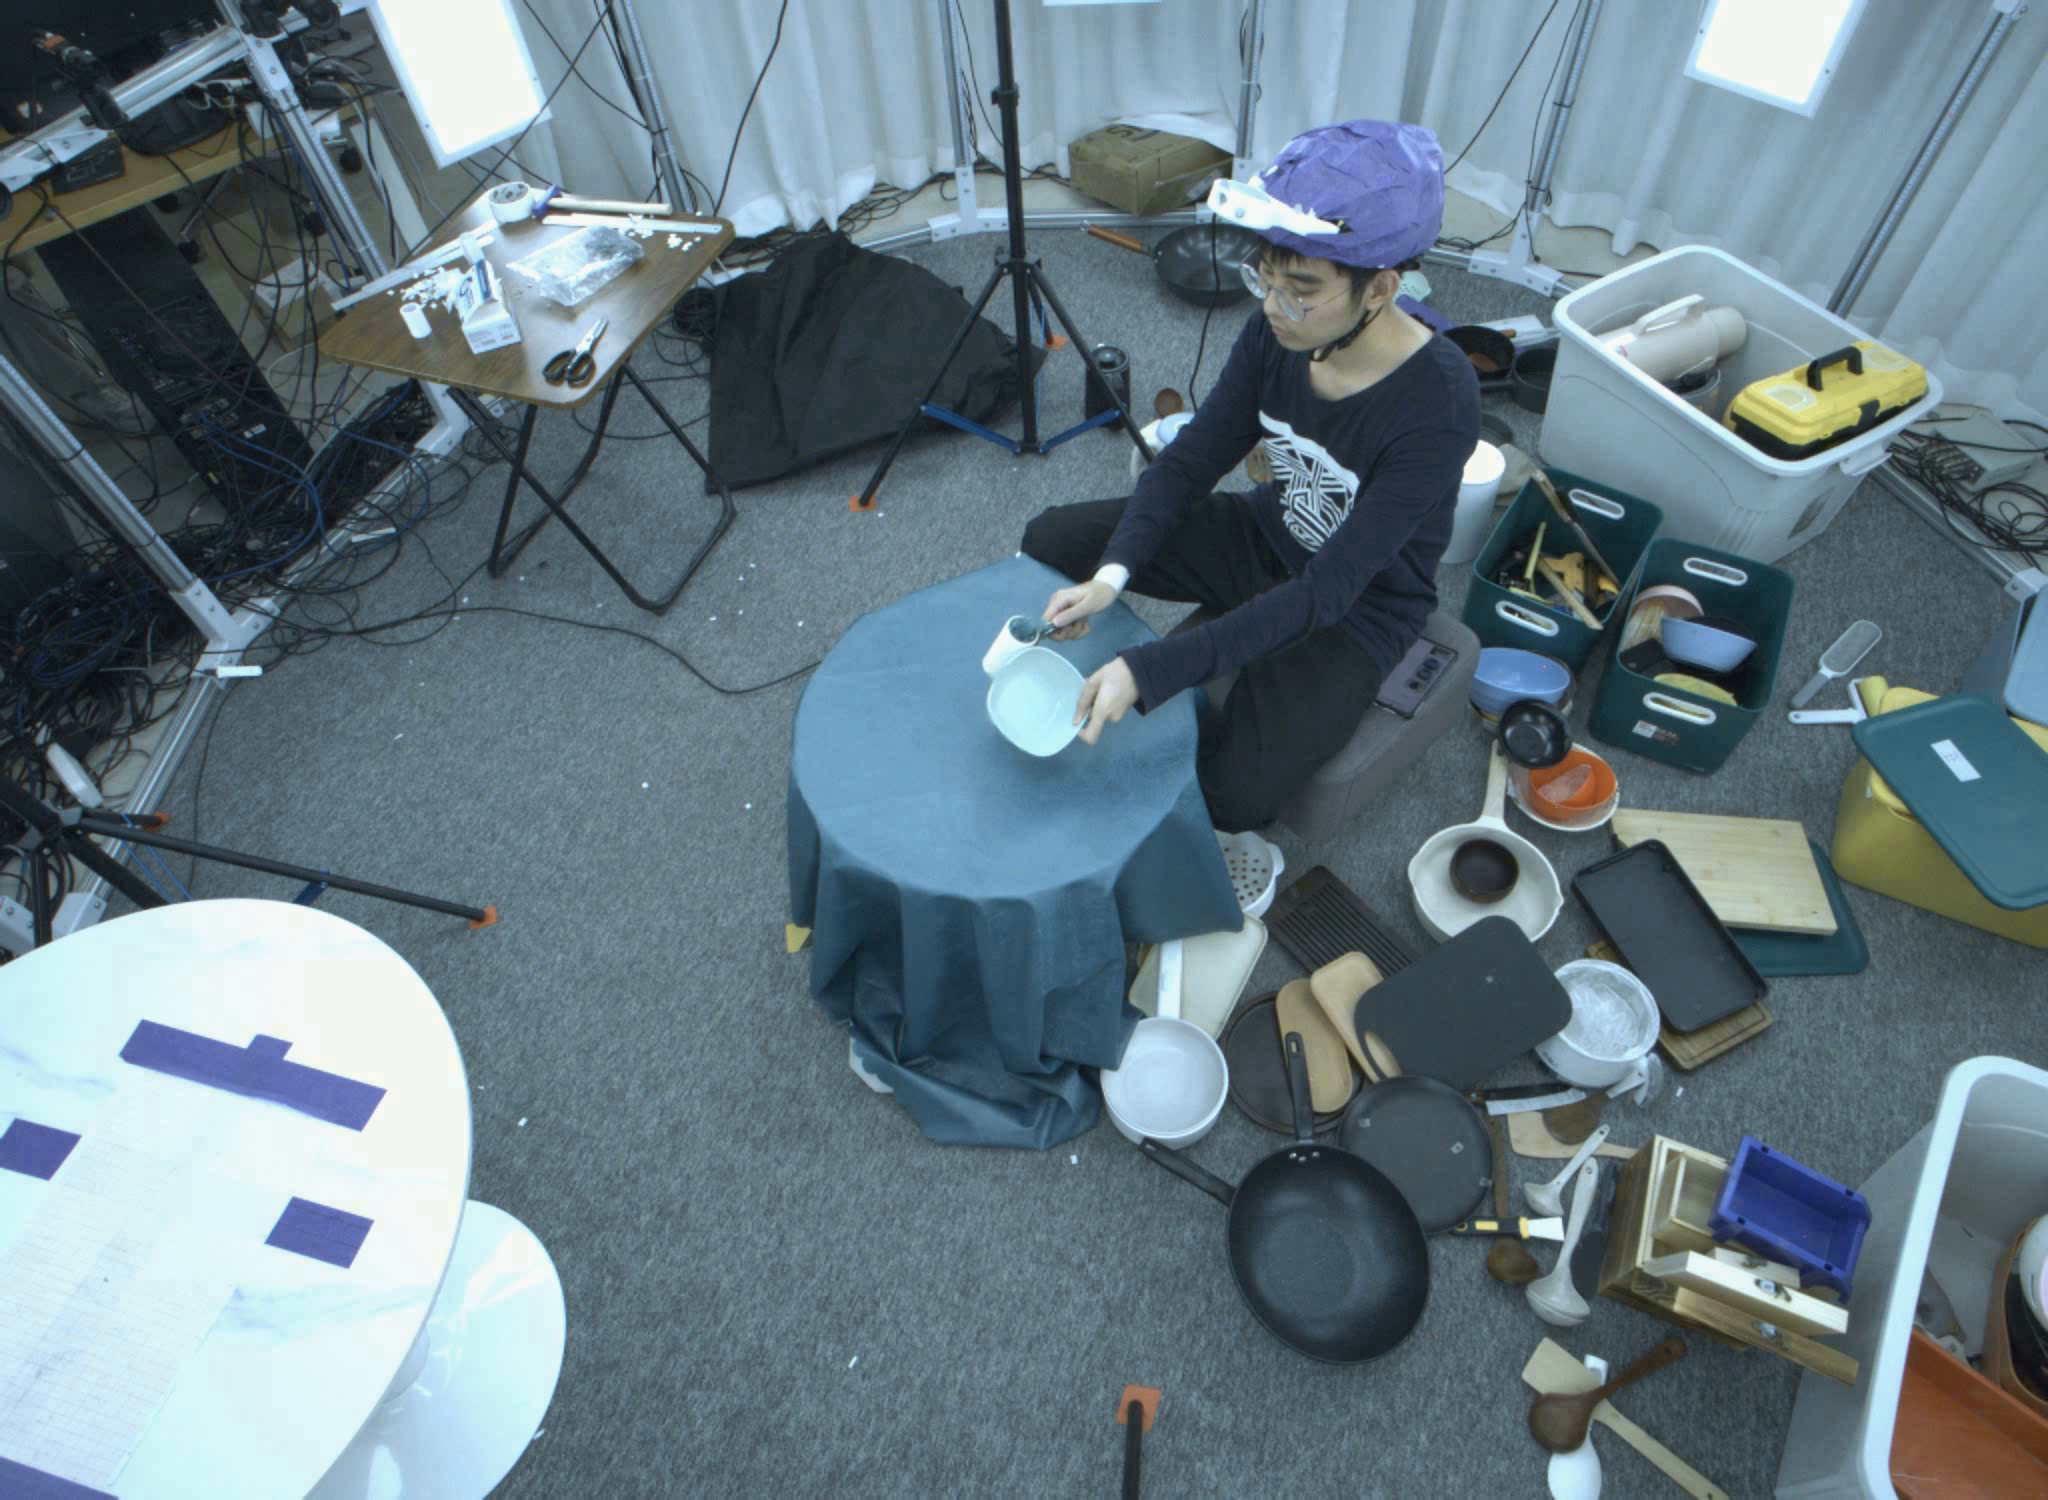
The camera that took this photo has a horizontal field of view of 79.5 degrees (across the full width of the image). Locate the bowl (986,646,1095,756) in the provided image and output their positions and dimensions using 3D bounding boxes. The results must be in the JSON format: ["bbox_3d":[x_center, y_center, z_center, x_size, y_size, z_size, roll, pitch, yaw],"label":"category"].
[{"bbox_3d":[0.019,-0.067,1.707,0.153,0.058,0.151,0,90,-11],"label":"bowl"}]

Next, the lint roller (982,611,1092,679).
[{"bbox_3d":[0.025,-0.175,1.766,0.182,0.133,0.048,-36,82,-35],"label":"lint roller"}]
